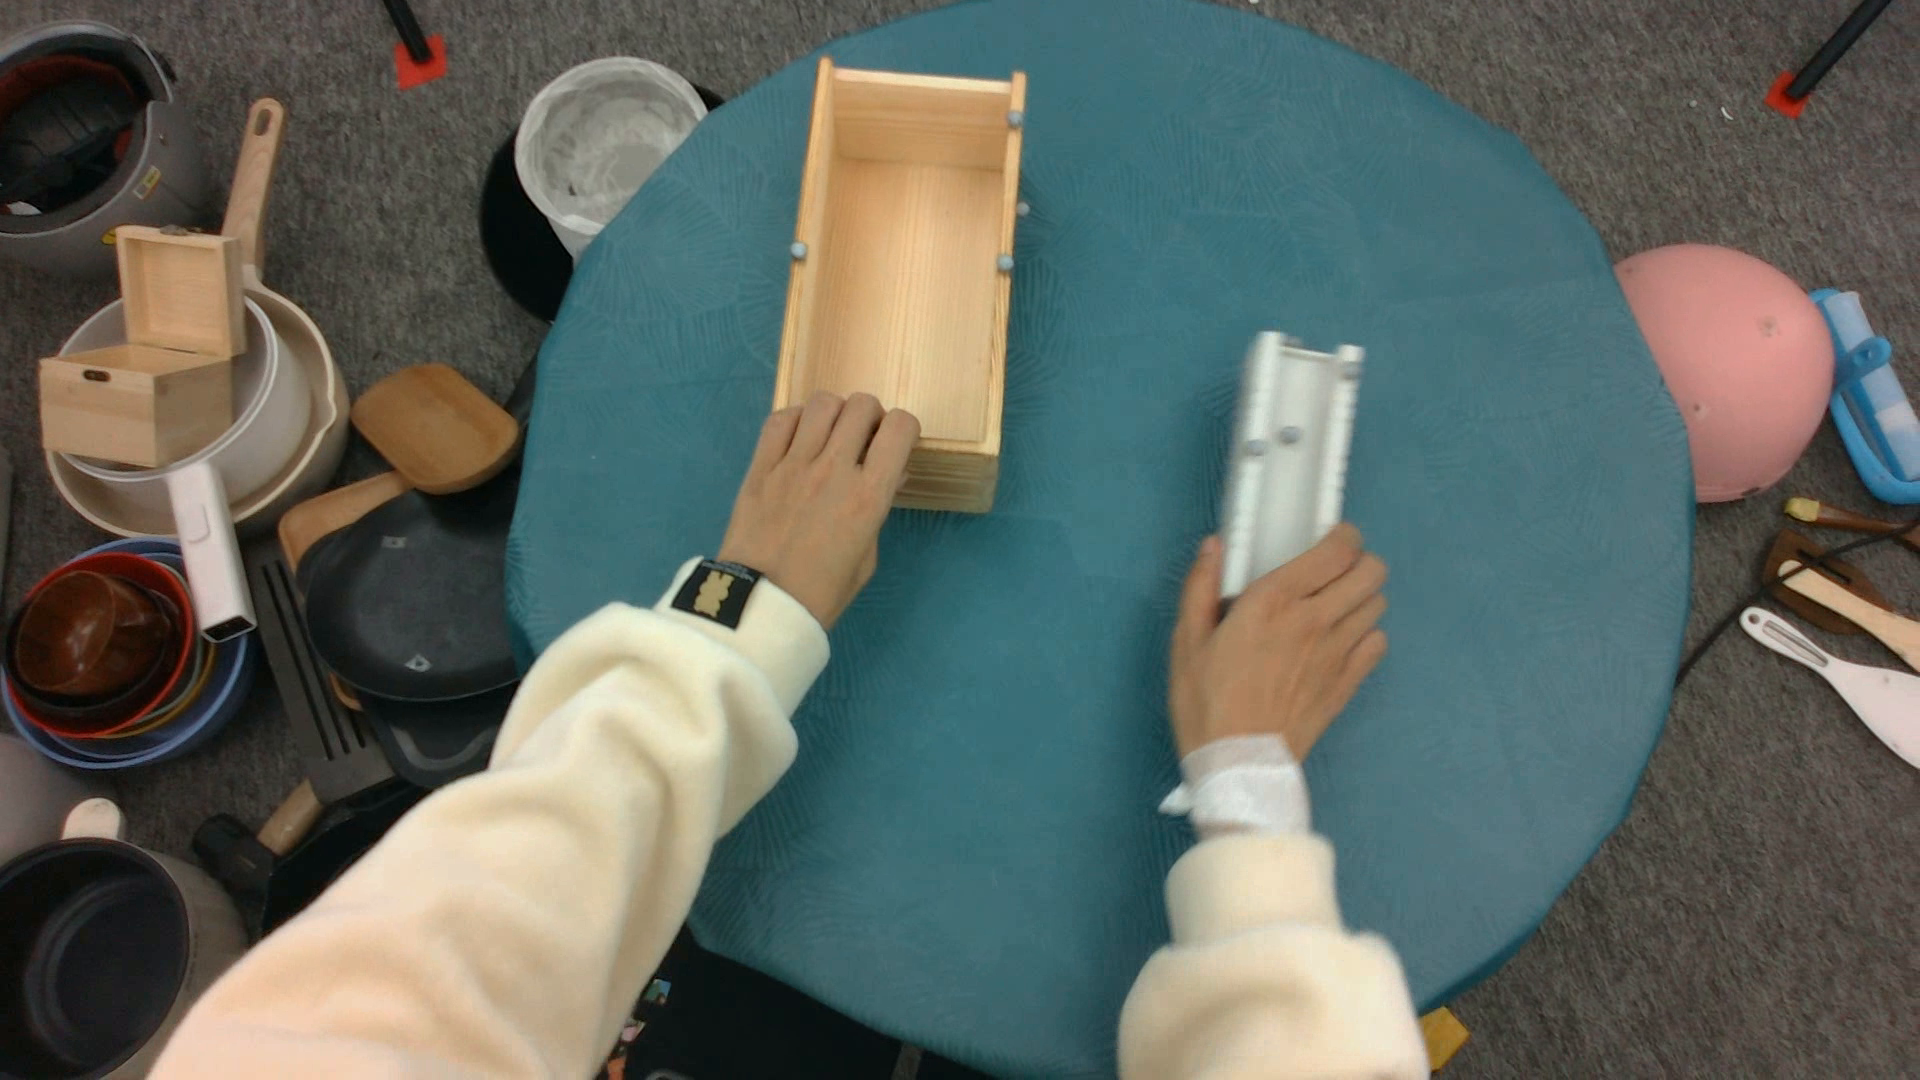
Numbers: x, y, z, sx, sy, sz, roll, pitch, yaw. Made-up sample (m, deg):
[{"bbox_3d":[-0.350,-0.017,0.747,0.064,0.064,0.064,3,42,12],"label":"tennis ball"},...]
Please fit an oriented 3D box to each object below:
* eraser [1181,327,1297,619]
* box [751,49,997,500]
[{"bbox_3d":[0.132,-0.031,0.659,0.050,0.046,0.134,4,77,-5],"label":"eraser"},{"bbox_3d":[-0.039,-0.133,0.692,0.107,0.080,0.212,2,70,-1],"label":"box"}]
